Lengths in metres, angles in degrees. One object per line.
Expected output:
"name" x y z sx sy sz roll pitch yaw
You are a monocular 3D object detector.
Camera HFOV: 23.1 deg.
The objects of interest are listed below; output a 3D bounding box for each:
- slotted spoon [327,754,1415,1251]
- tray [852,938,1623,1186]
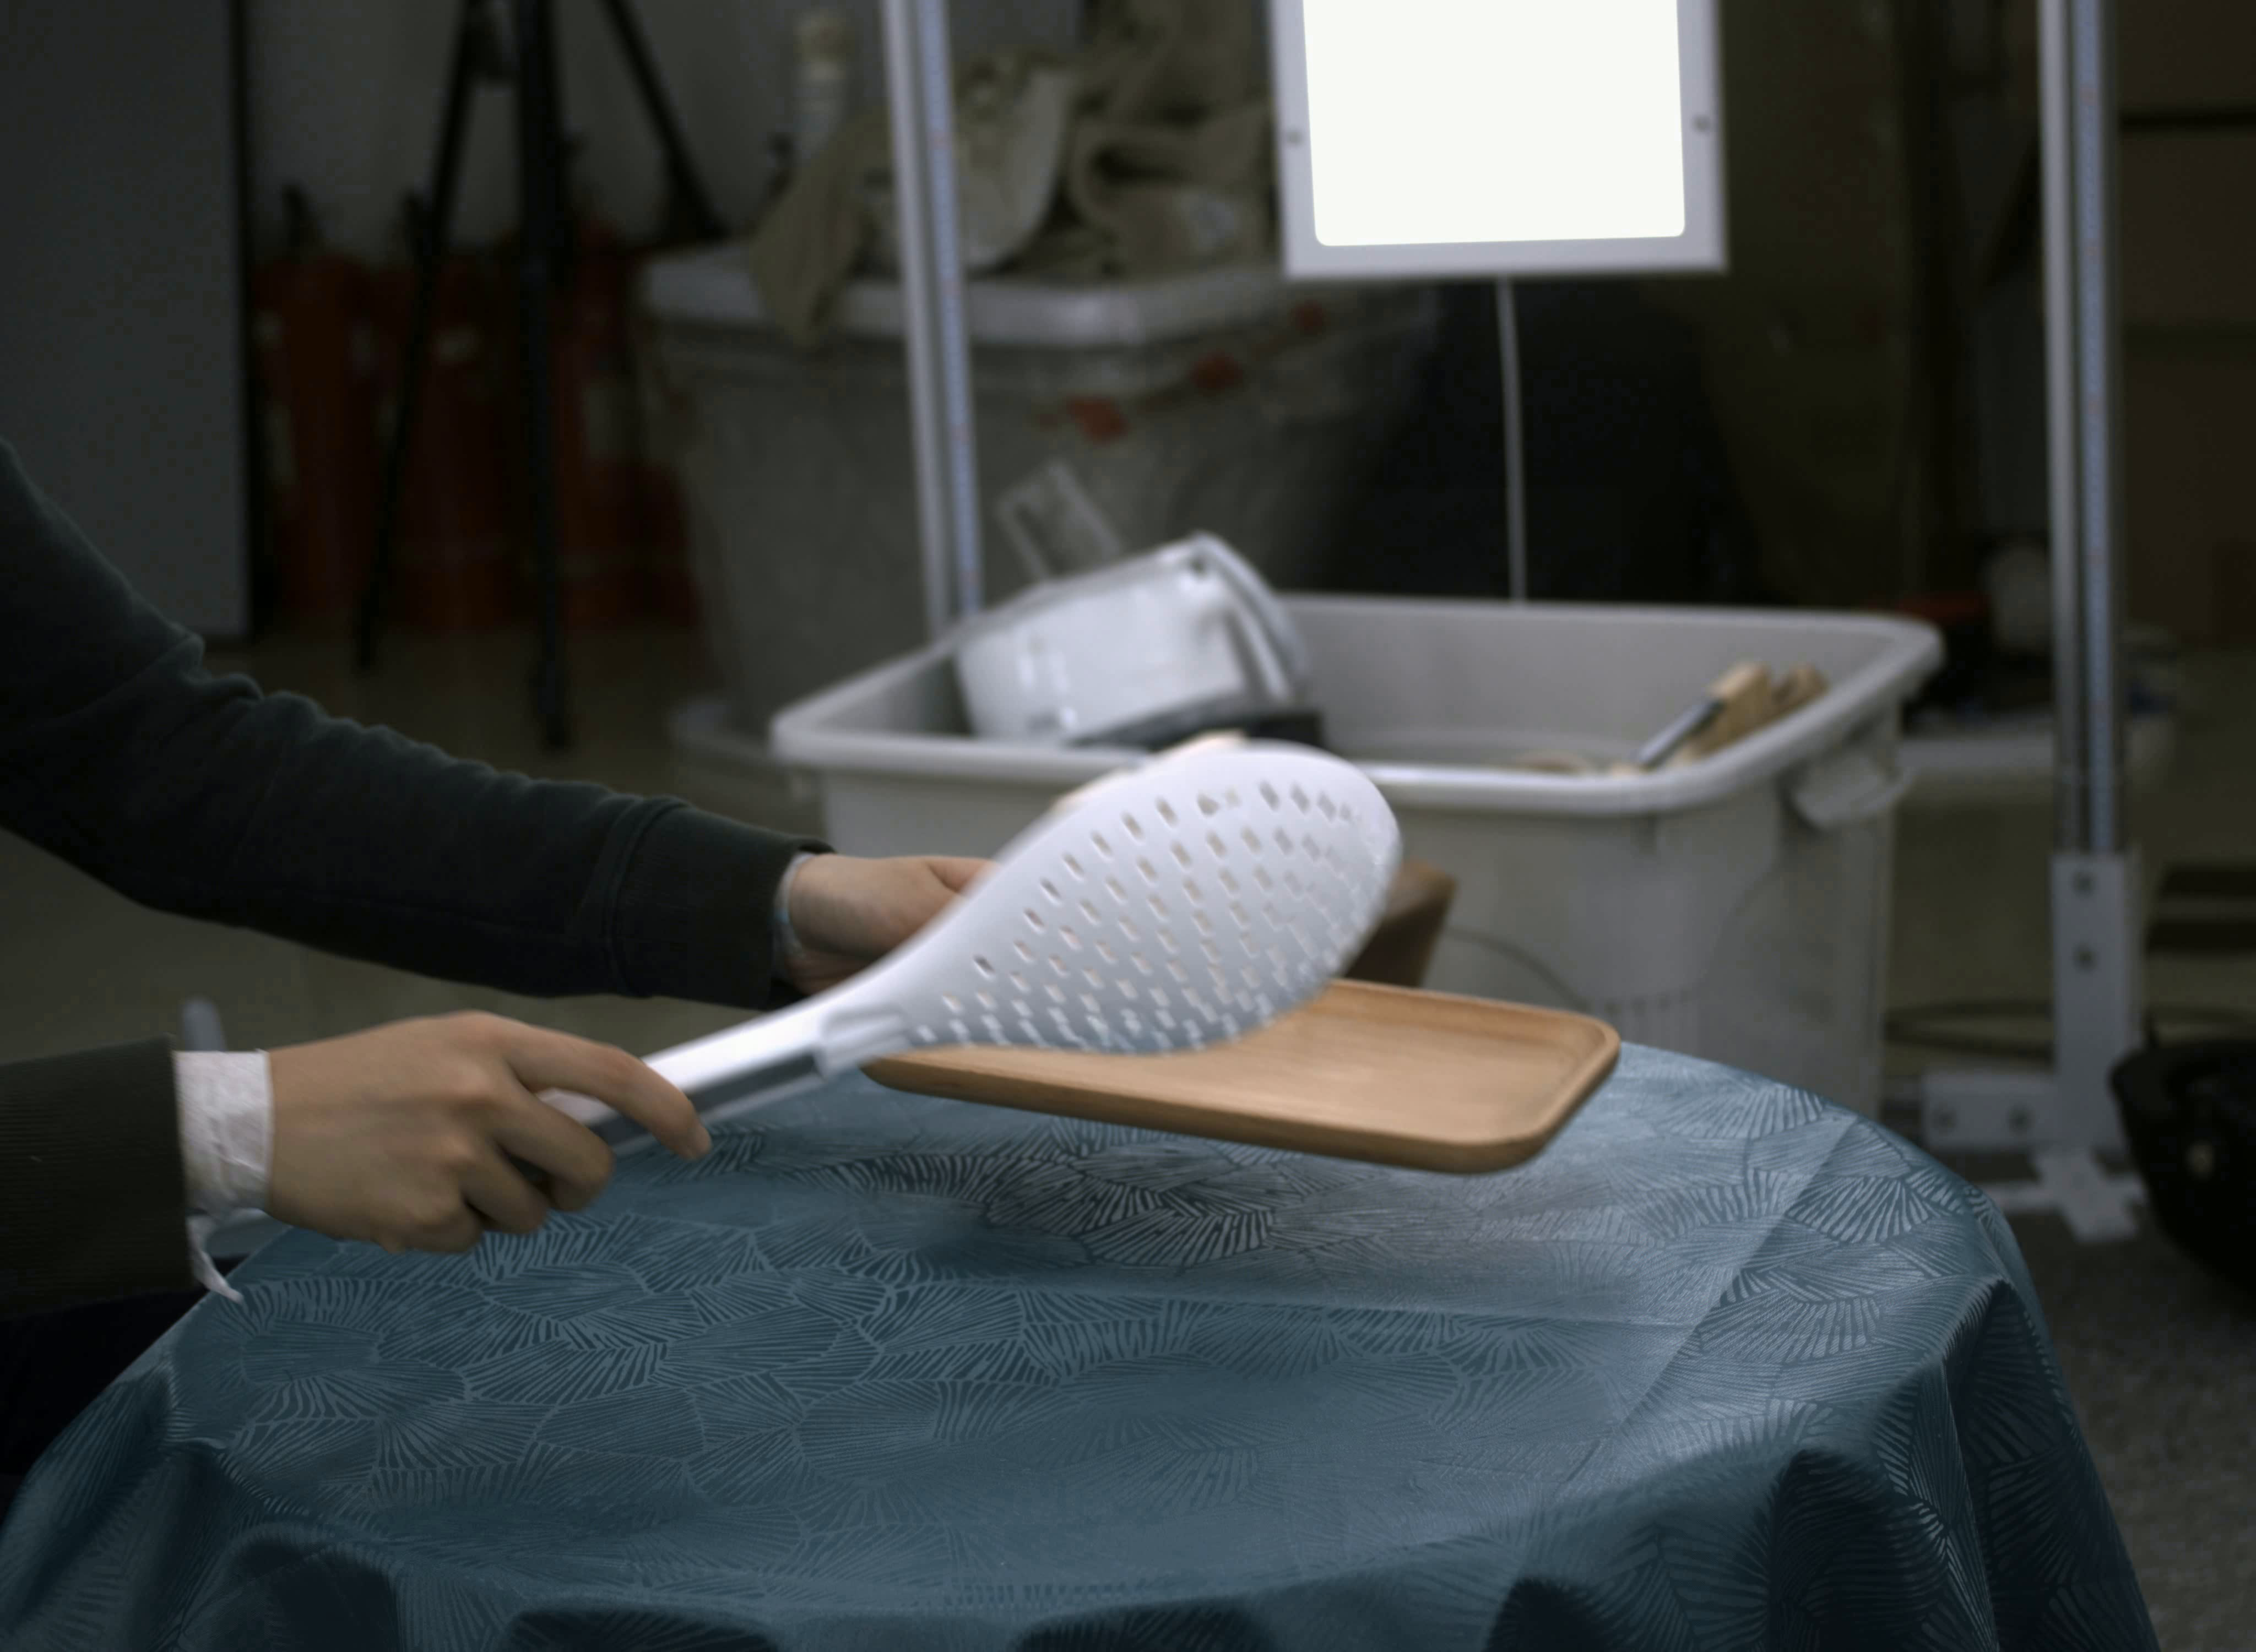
"slotted spoon" -0.077 0.064 1.683 0.350 0.135 0.046 -15 53 4
"tray" 0.036 0.078 1.860 0.254 0.023 0.128 7 19 23
